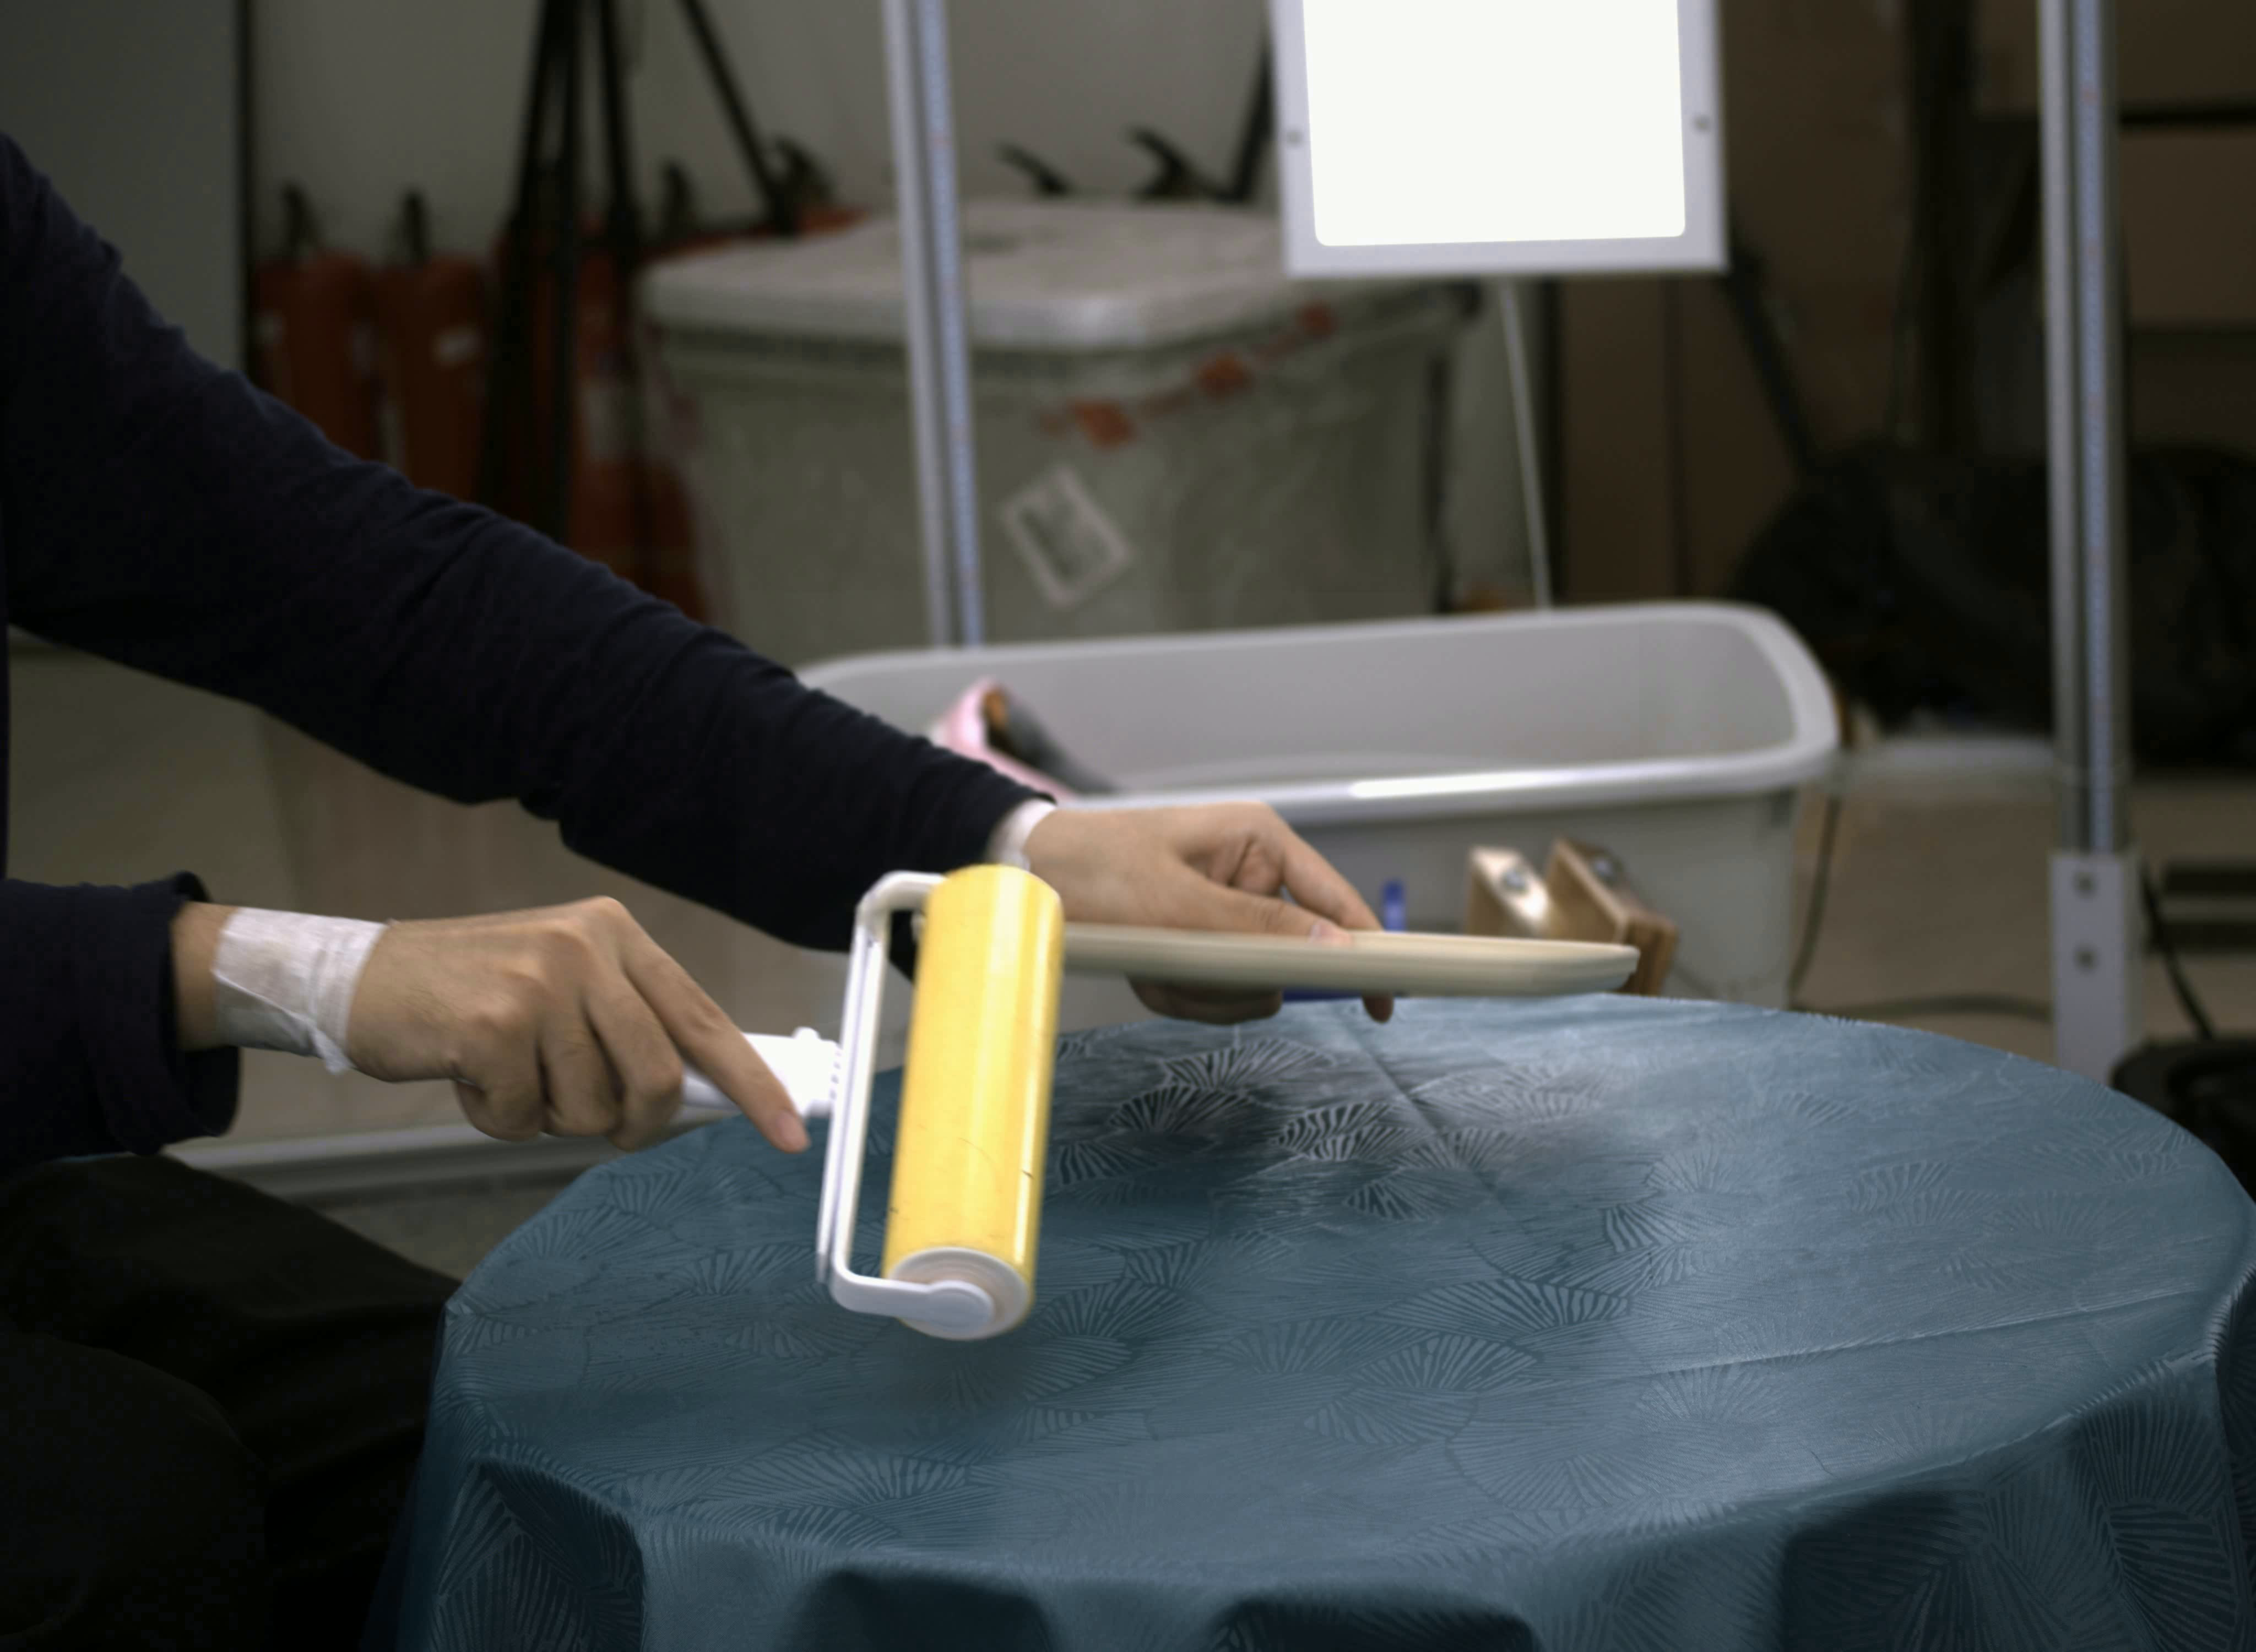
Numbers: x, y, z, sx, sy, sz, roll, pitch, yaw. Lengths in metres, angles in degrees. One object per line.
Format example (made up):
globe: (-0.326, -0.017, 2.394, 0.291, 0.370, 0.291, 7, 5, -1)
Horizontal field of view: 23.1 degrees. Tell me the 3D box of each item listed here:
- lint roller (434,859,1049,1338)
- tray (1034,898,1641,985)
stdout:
lint roller: (-0.121, 0.073, 1.740, 0.190, 0.052, 0.173, 11, 47, -8)
tray: (0.055, 0.041, 1.949, 0.242, 0.017, 0.169, 3, -2, 18)
